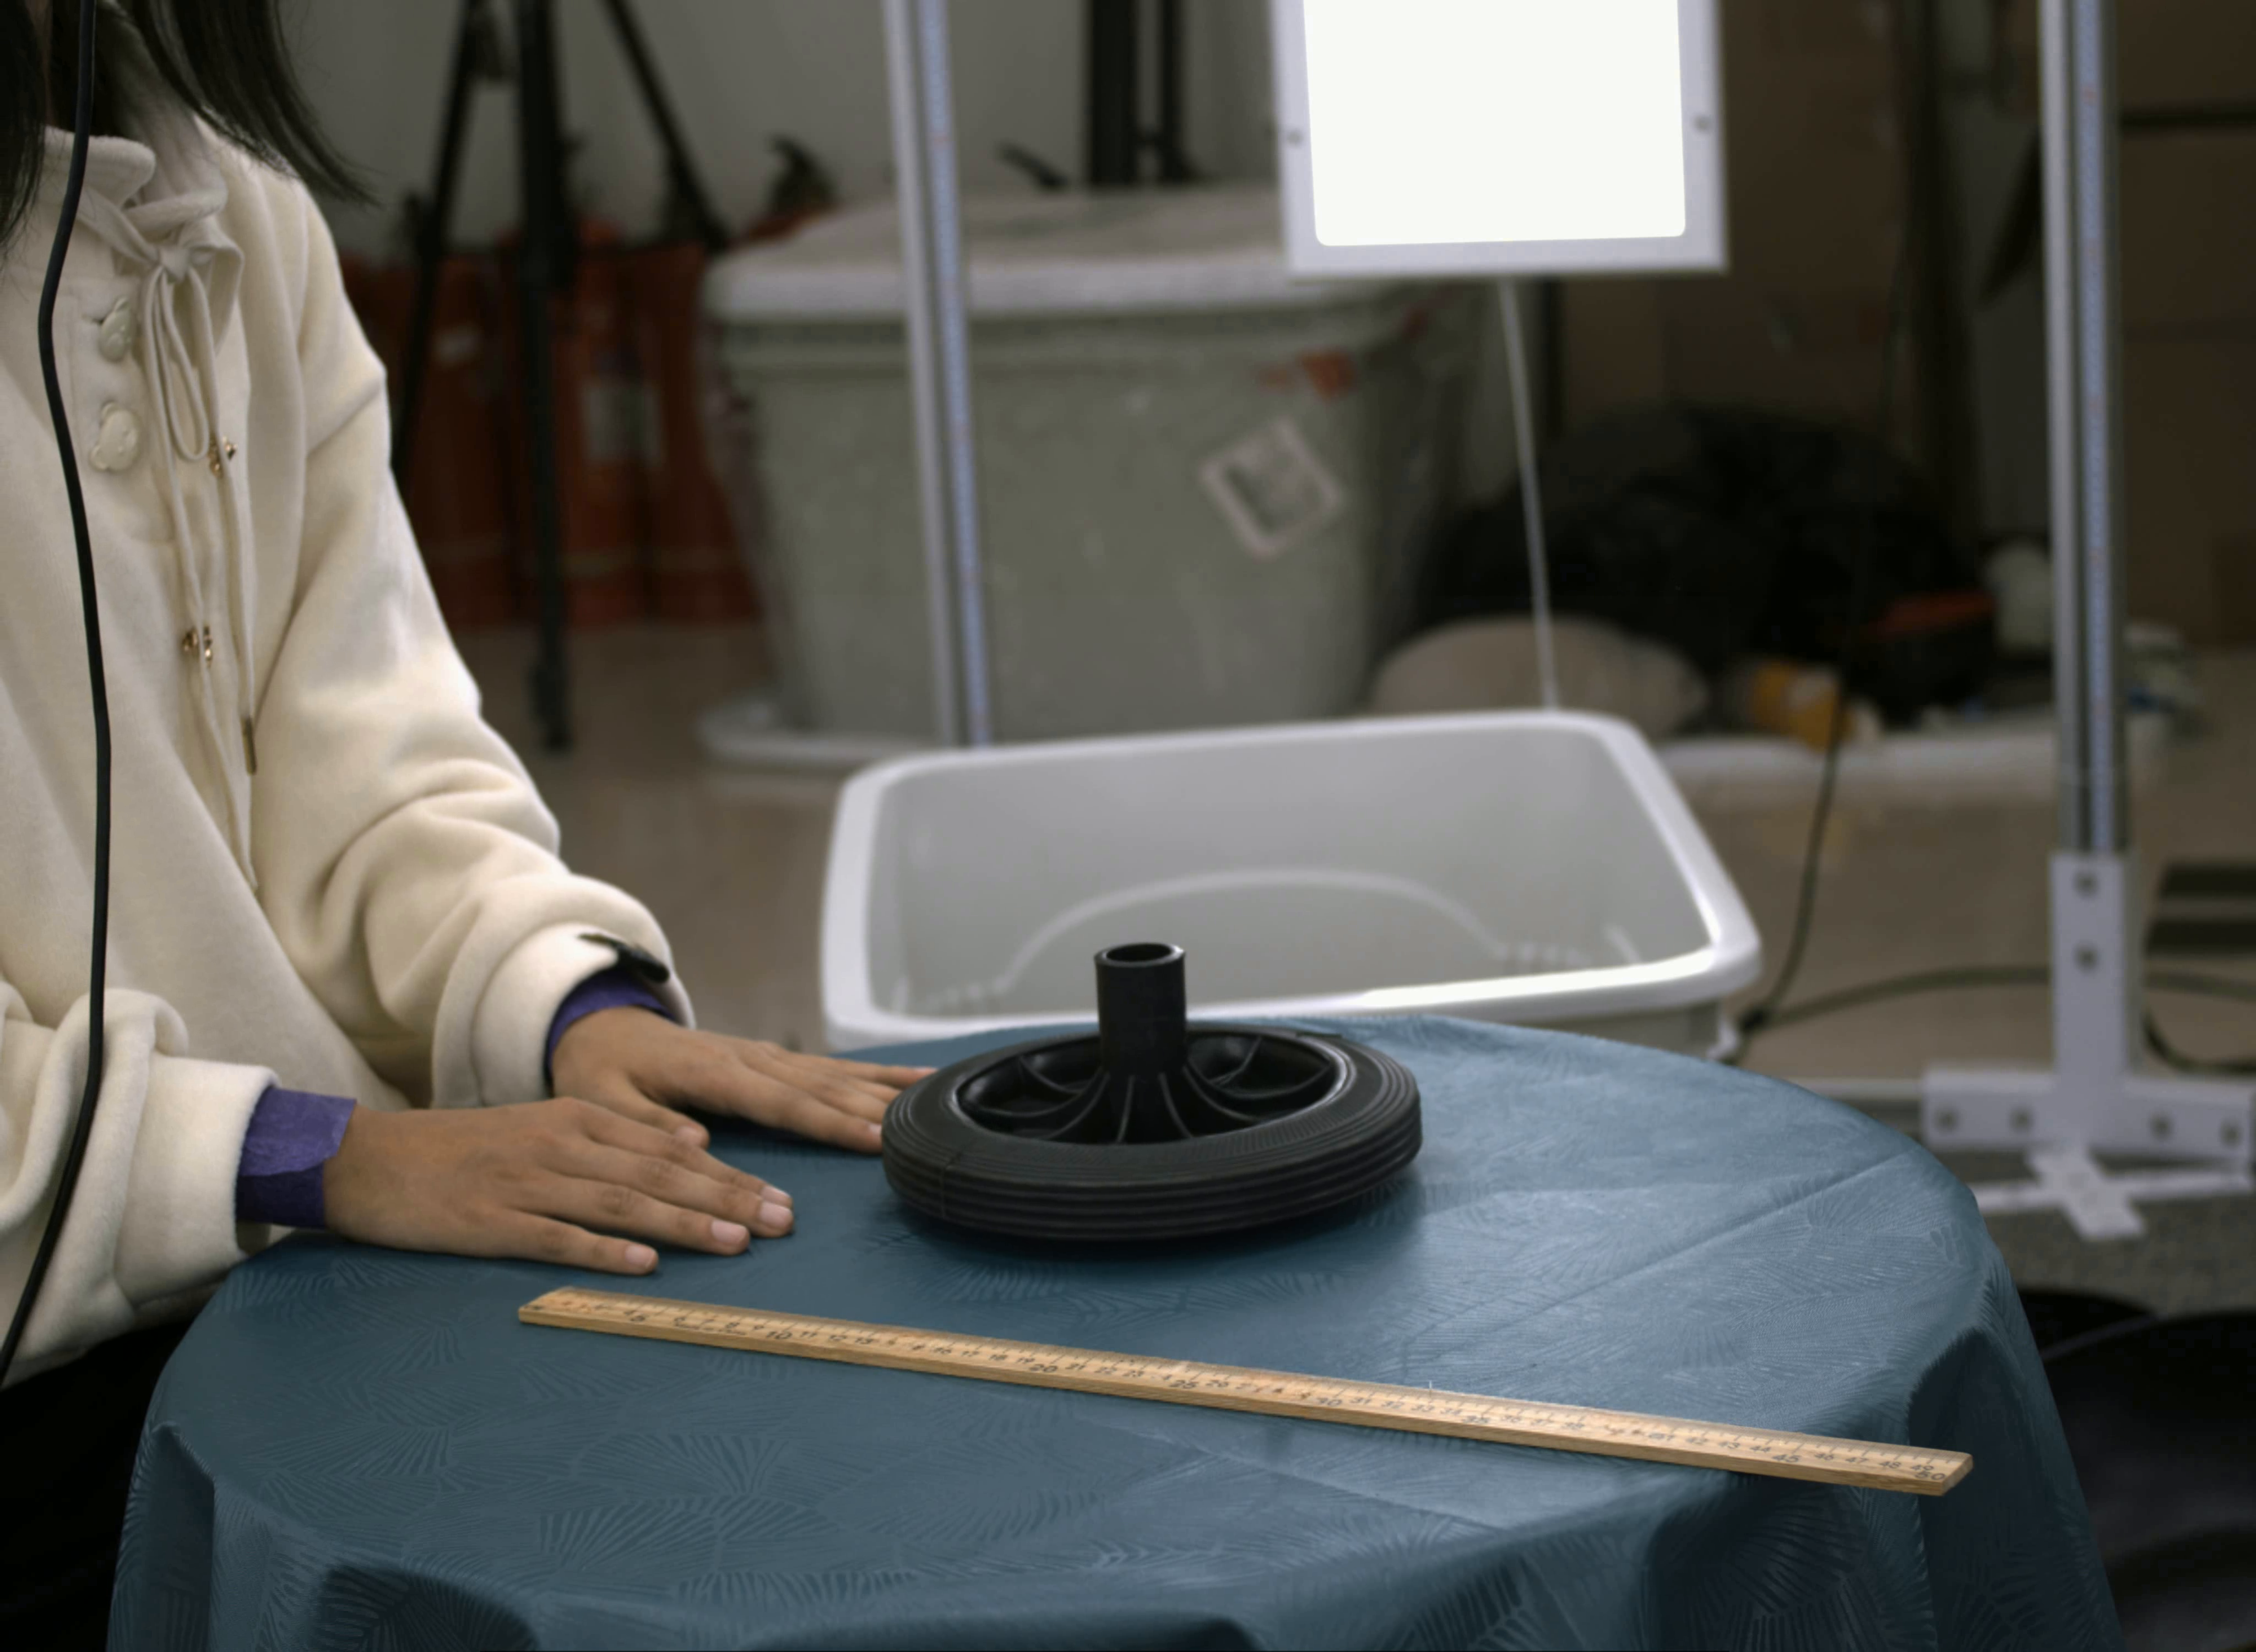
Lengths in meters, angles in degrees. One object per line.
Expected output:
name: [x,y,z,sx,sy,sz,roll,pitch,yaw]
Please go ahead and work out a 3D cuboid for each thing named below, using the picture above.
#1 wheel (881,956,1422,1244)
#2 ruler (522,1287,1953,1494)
wheel: [0.007,0.087,1.899,0.186,0.079,0.190,-5,13,-2]
ruler: [0.020,0.172,1.696,0.510,0.006,0.026,4,17,32]
